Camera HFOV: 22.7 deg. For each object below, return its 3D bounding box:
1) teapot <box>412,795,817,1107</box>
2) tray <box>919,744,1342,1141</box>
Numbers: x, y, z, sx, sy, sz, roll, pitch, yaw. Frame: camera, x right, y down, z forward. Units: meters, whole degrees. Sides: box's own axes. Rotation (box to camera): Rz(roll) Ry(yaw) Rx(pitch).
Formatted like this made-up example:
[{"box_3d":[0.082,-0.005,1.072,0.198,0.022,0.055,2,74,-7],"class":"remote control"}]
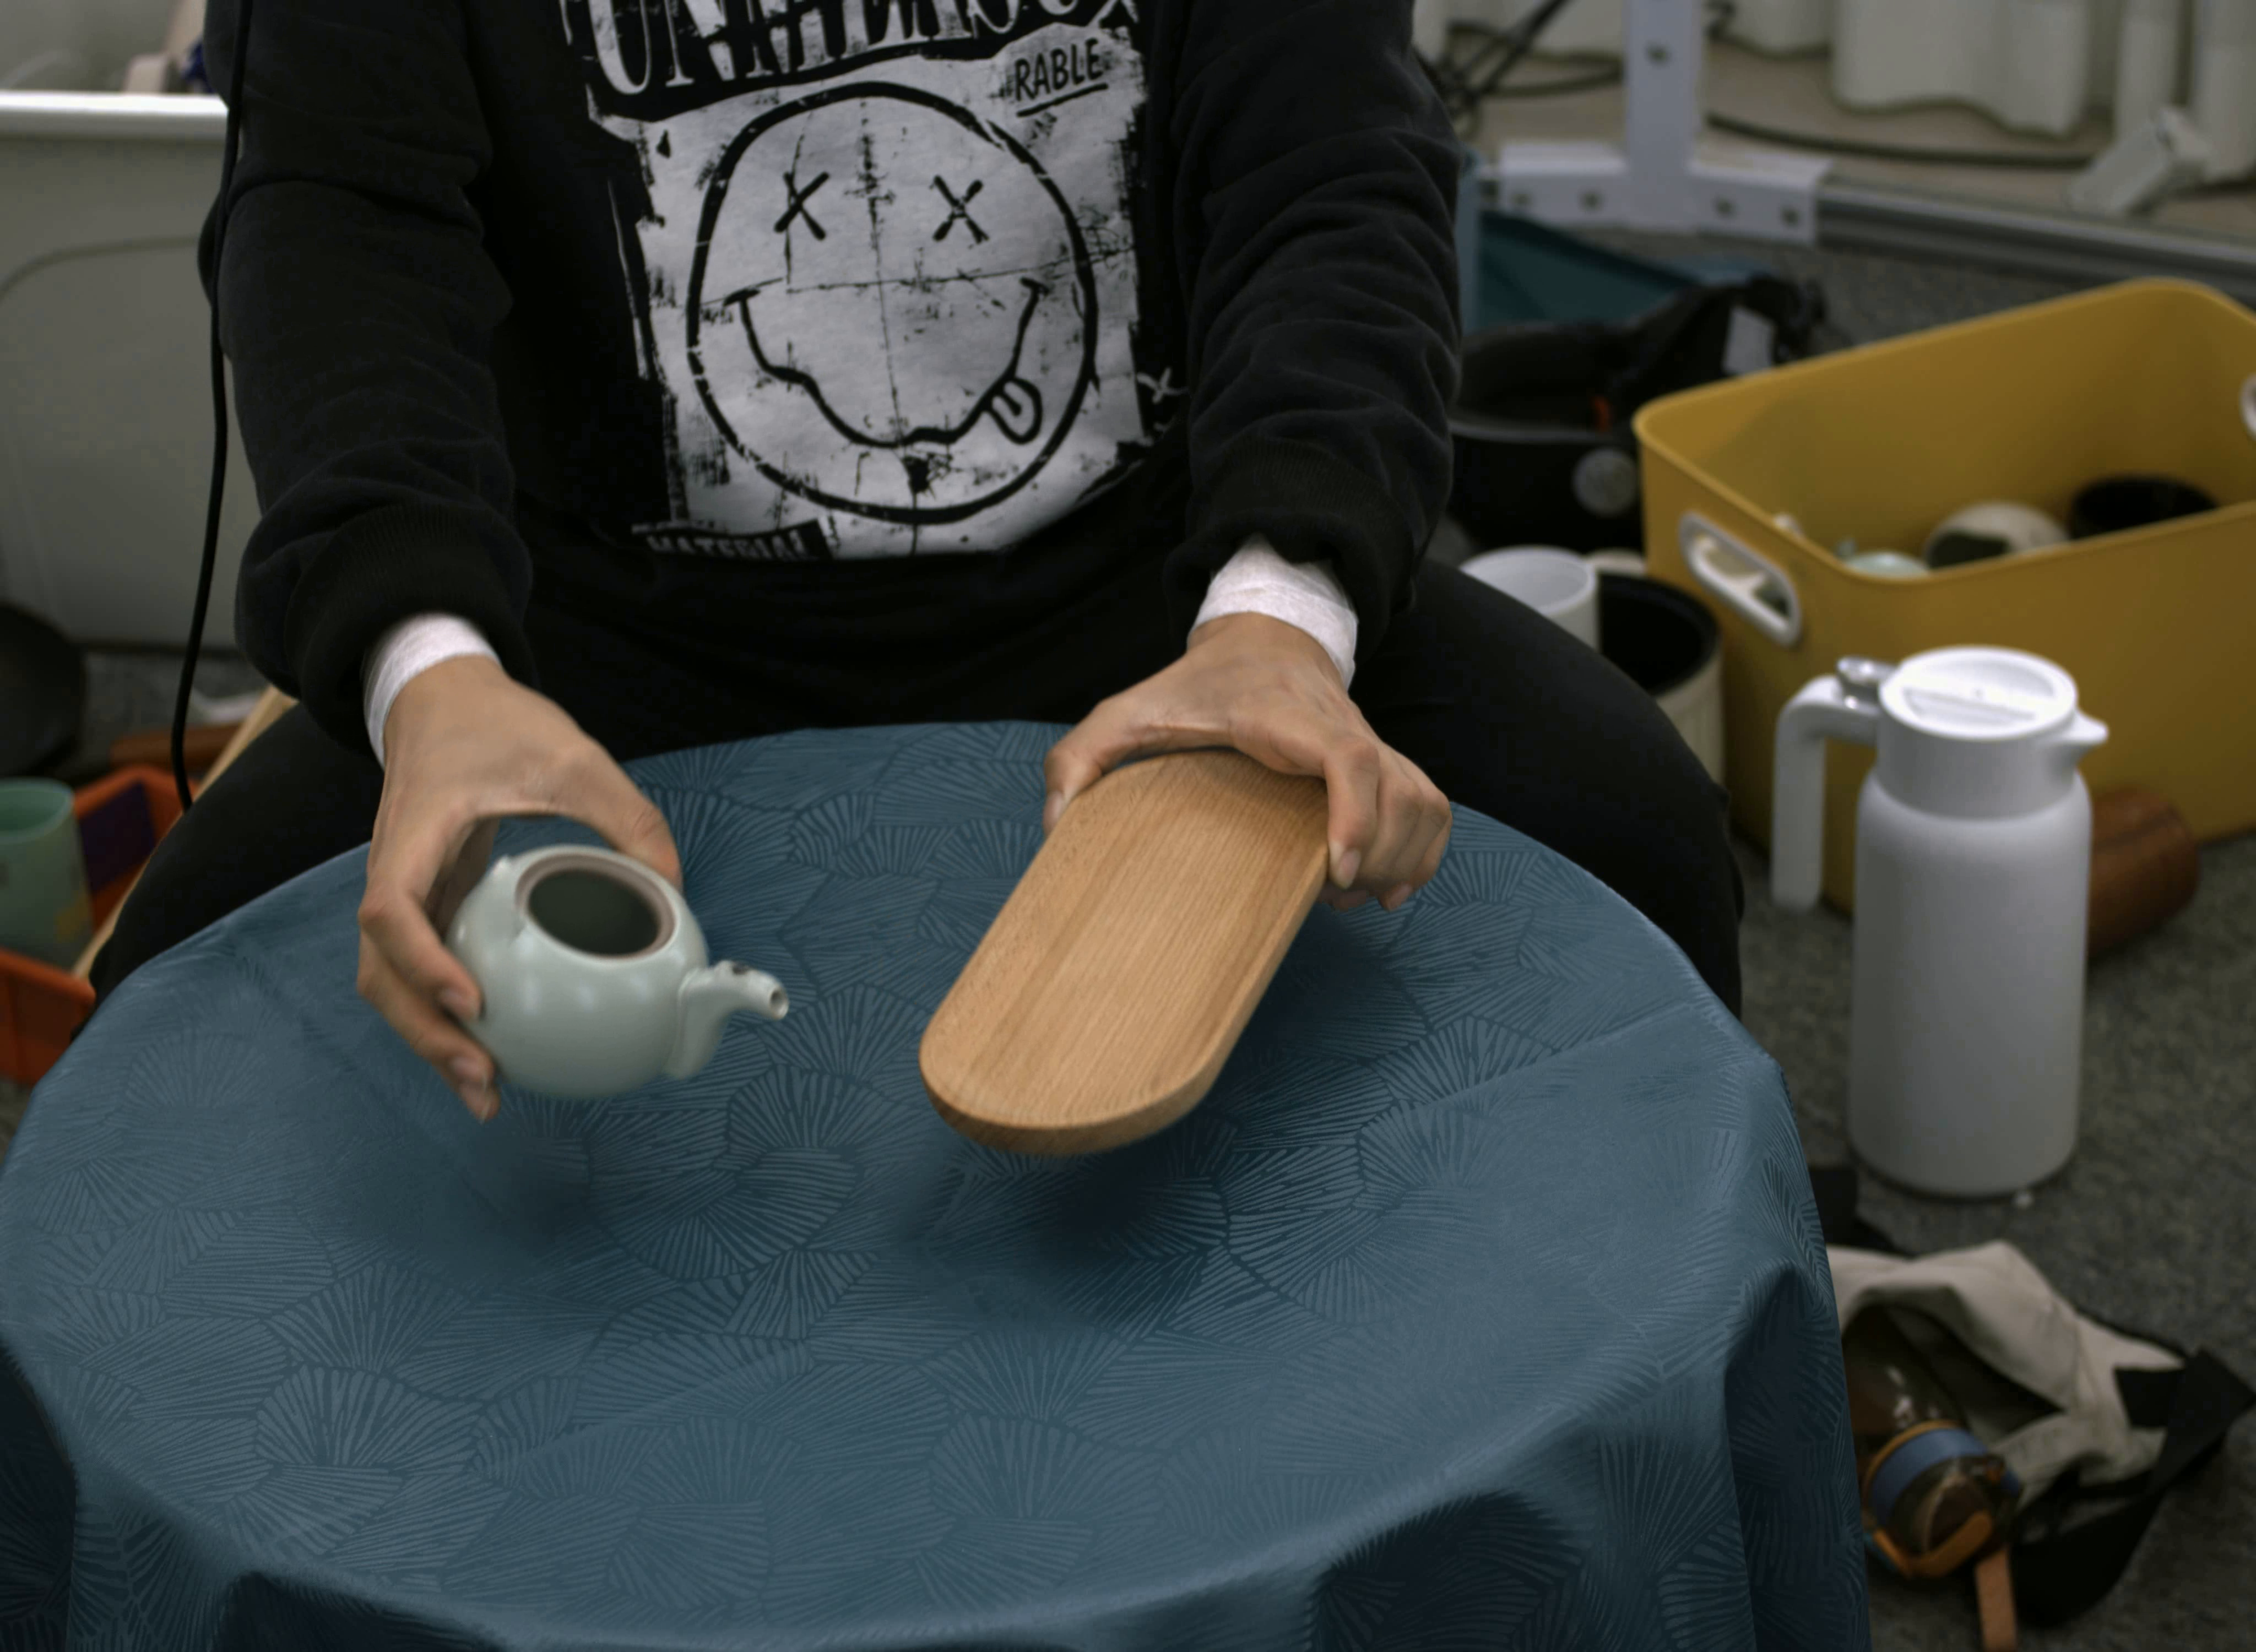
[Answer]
[{"box_3d":[-0.172,0.049,1.834,0.143,0.073,0.090,29,34,10],"class":"teapot"},{"box_3d":[0.003,0.037,1.887,0.101,0.020,0.235,6,31,18],"class":"tray"}]
